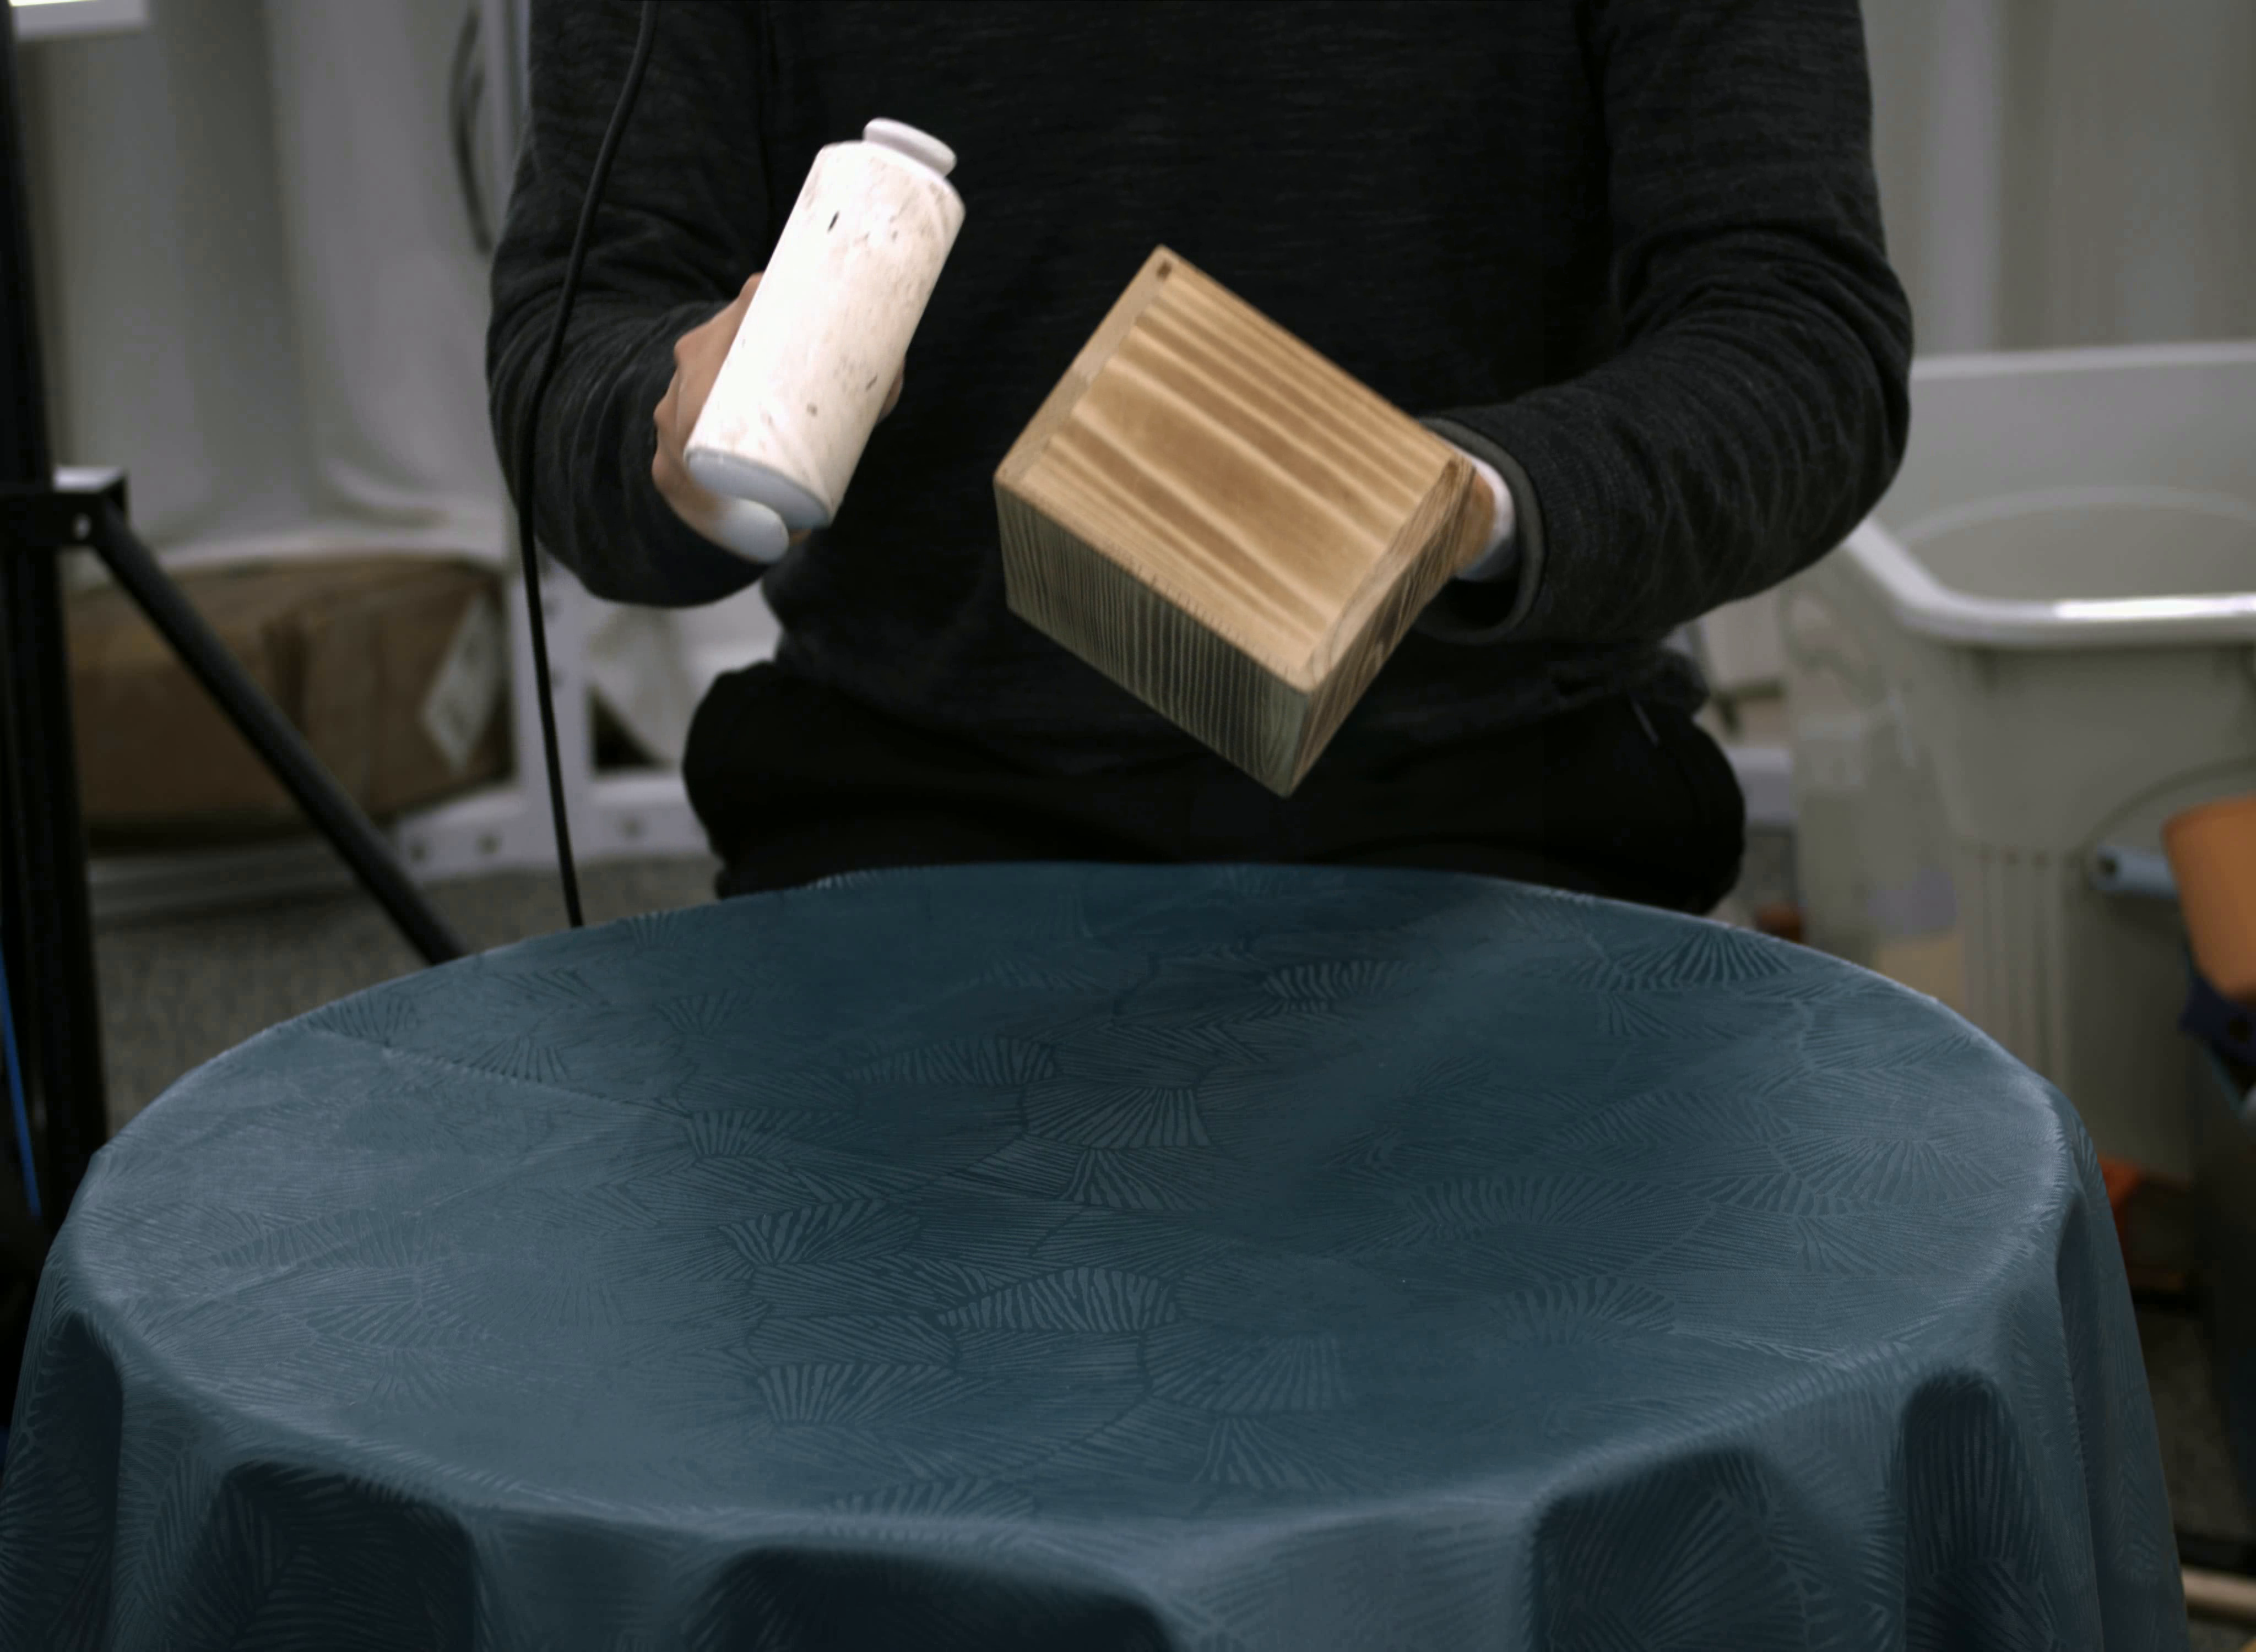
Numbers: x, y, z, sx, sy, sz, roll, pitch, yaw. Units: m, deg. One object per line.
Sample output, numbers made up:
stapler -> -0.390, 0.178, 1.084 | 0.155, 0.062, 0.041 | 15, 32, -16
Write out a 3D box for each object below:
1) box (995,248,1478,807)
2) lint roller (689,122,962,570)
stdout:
box -> 0.028, -0.080, 1.527 | 0.108, 0.080, 0.211 | 35, -6, 4
lint roller -> -0.104, -0.130, 1.583 | 0.049, 0.133, 0.182 | 24, -13, -13
